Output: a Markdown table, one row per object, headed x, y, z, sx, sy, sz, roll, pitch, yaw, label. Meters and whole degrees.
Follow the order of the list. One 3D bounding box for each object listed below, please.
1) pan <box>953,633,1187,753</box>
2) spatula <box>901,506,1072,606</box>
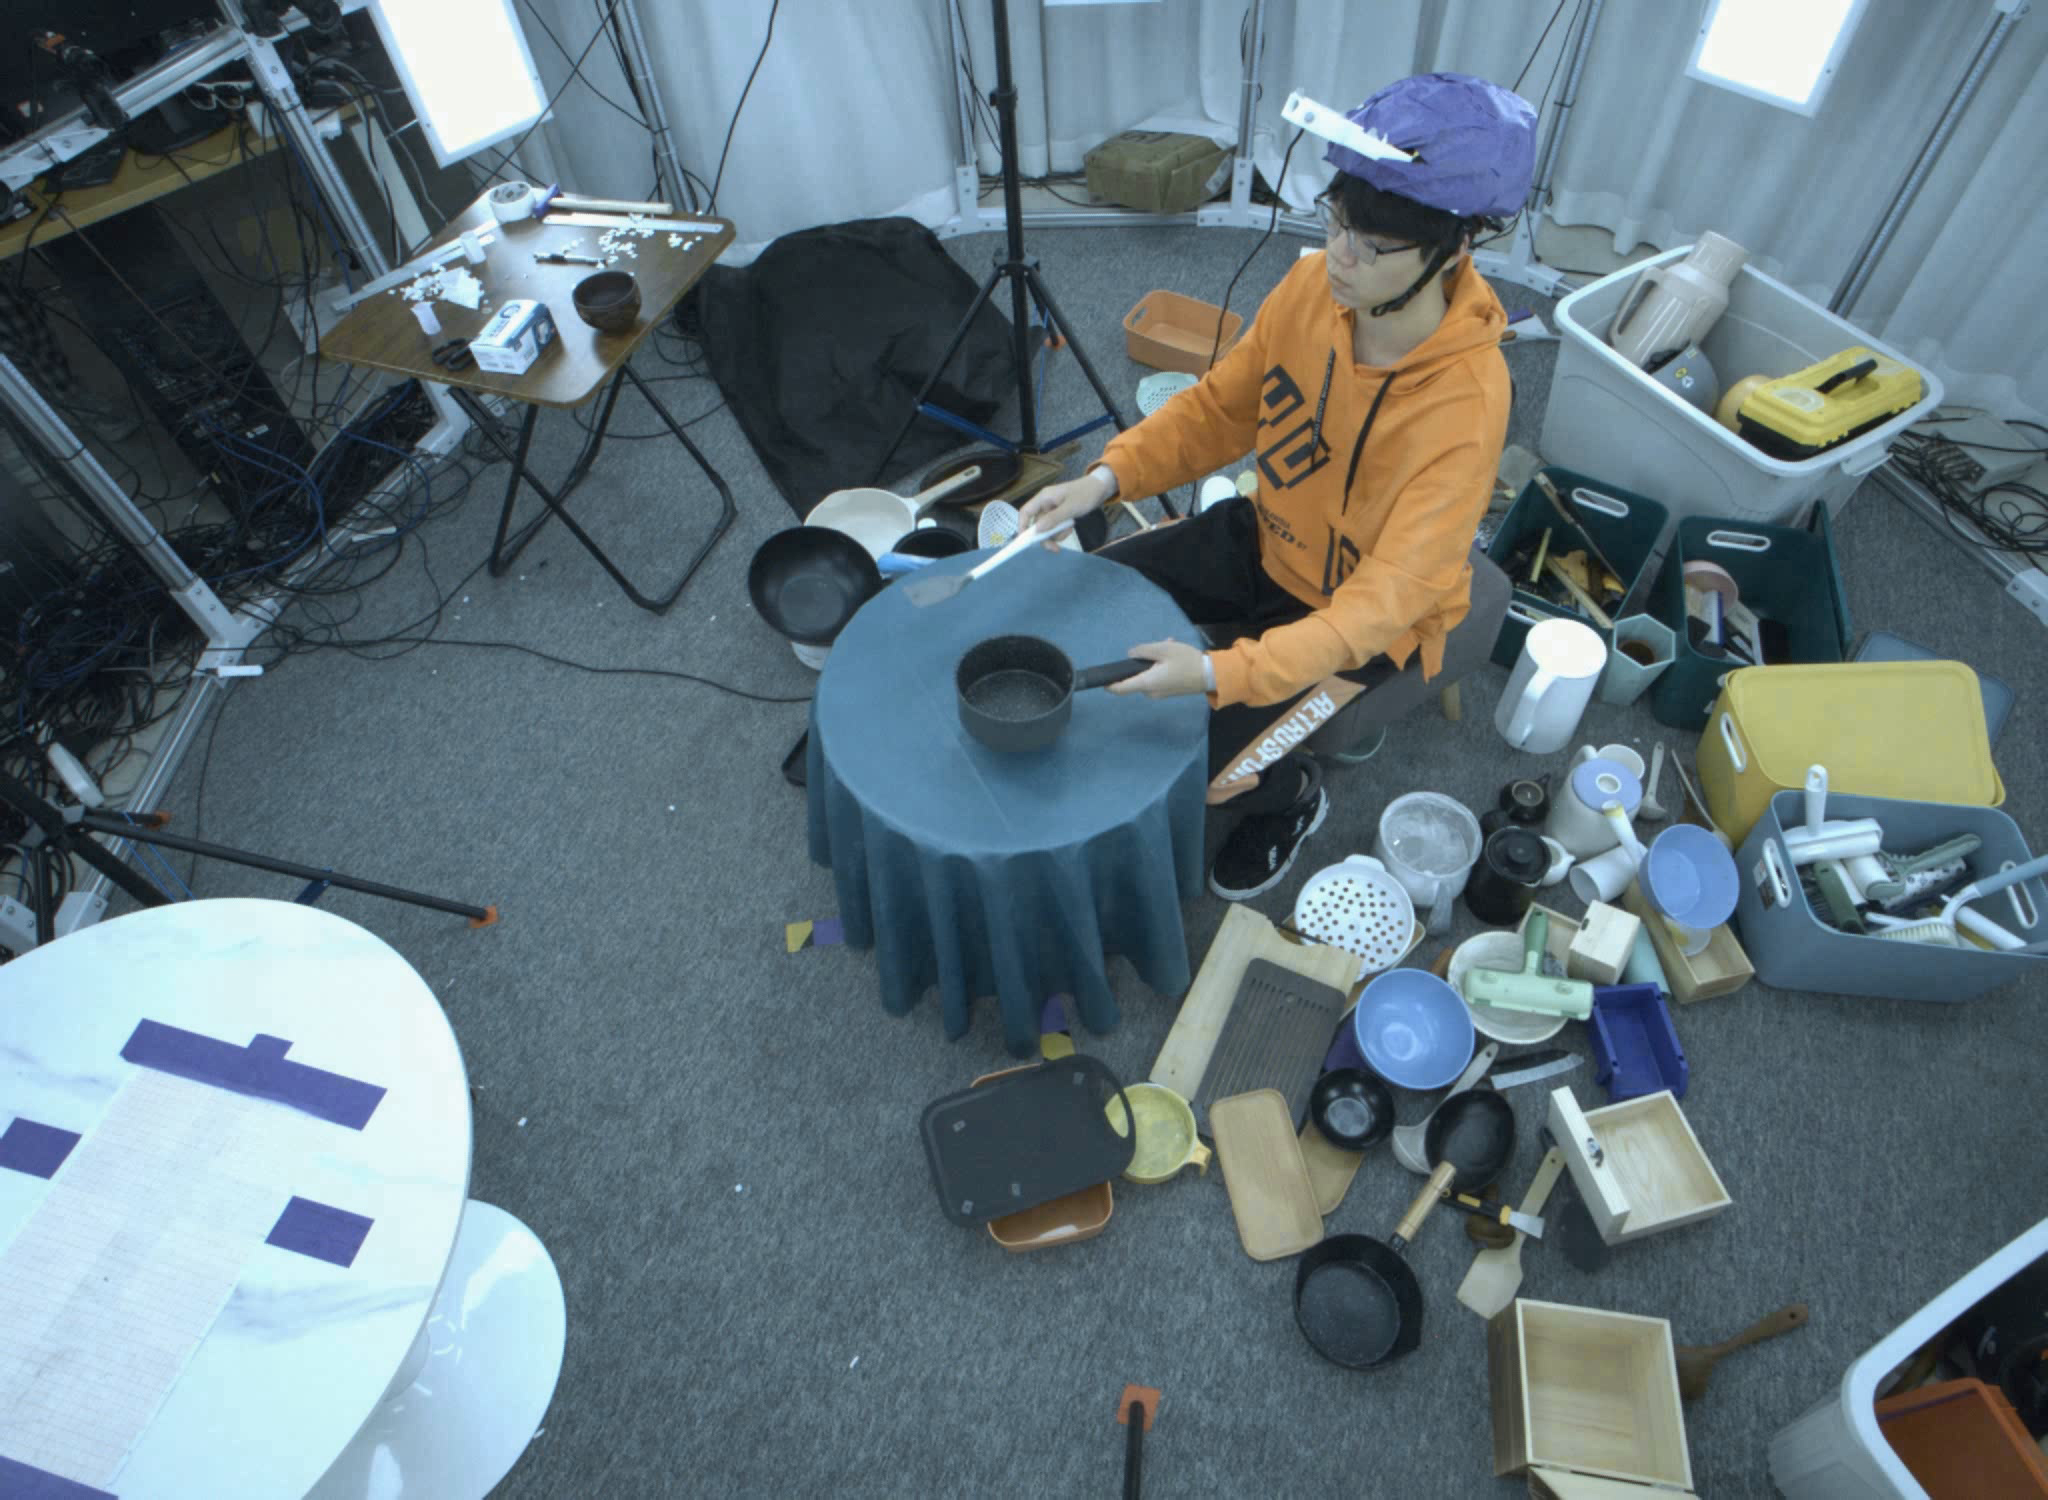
| x | y | z | sx | sy | sz | roll | pitch | yaw | label |
| --- | --- | --- | --- | --- | --- | --- | --- | --- | --- |
| 0.066 | -0.088 | 1.740 | 0.330 | 0.087 | 0.169 | -5 | 52 | -5 | pan |
| -0.053 | -0.289 | 1.836 | 0.290 | 0.032 | 0.058 | -31 | 65 | -19 | spatula |
